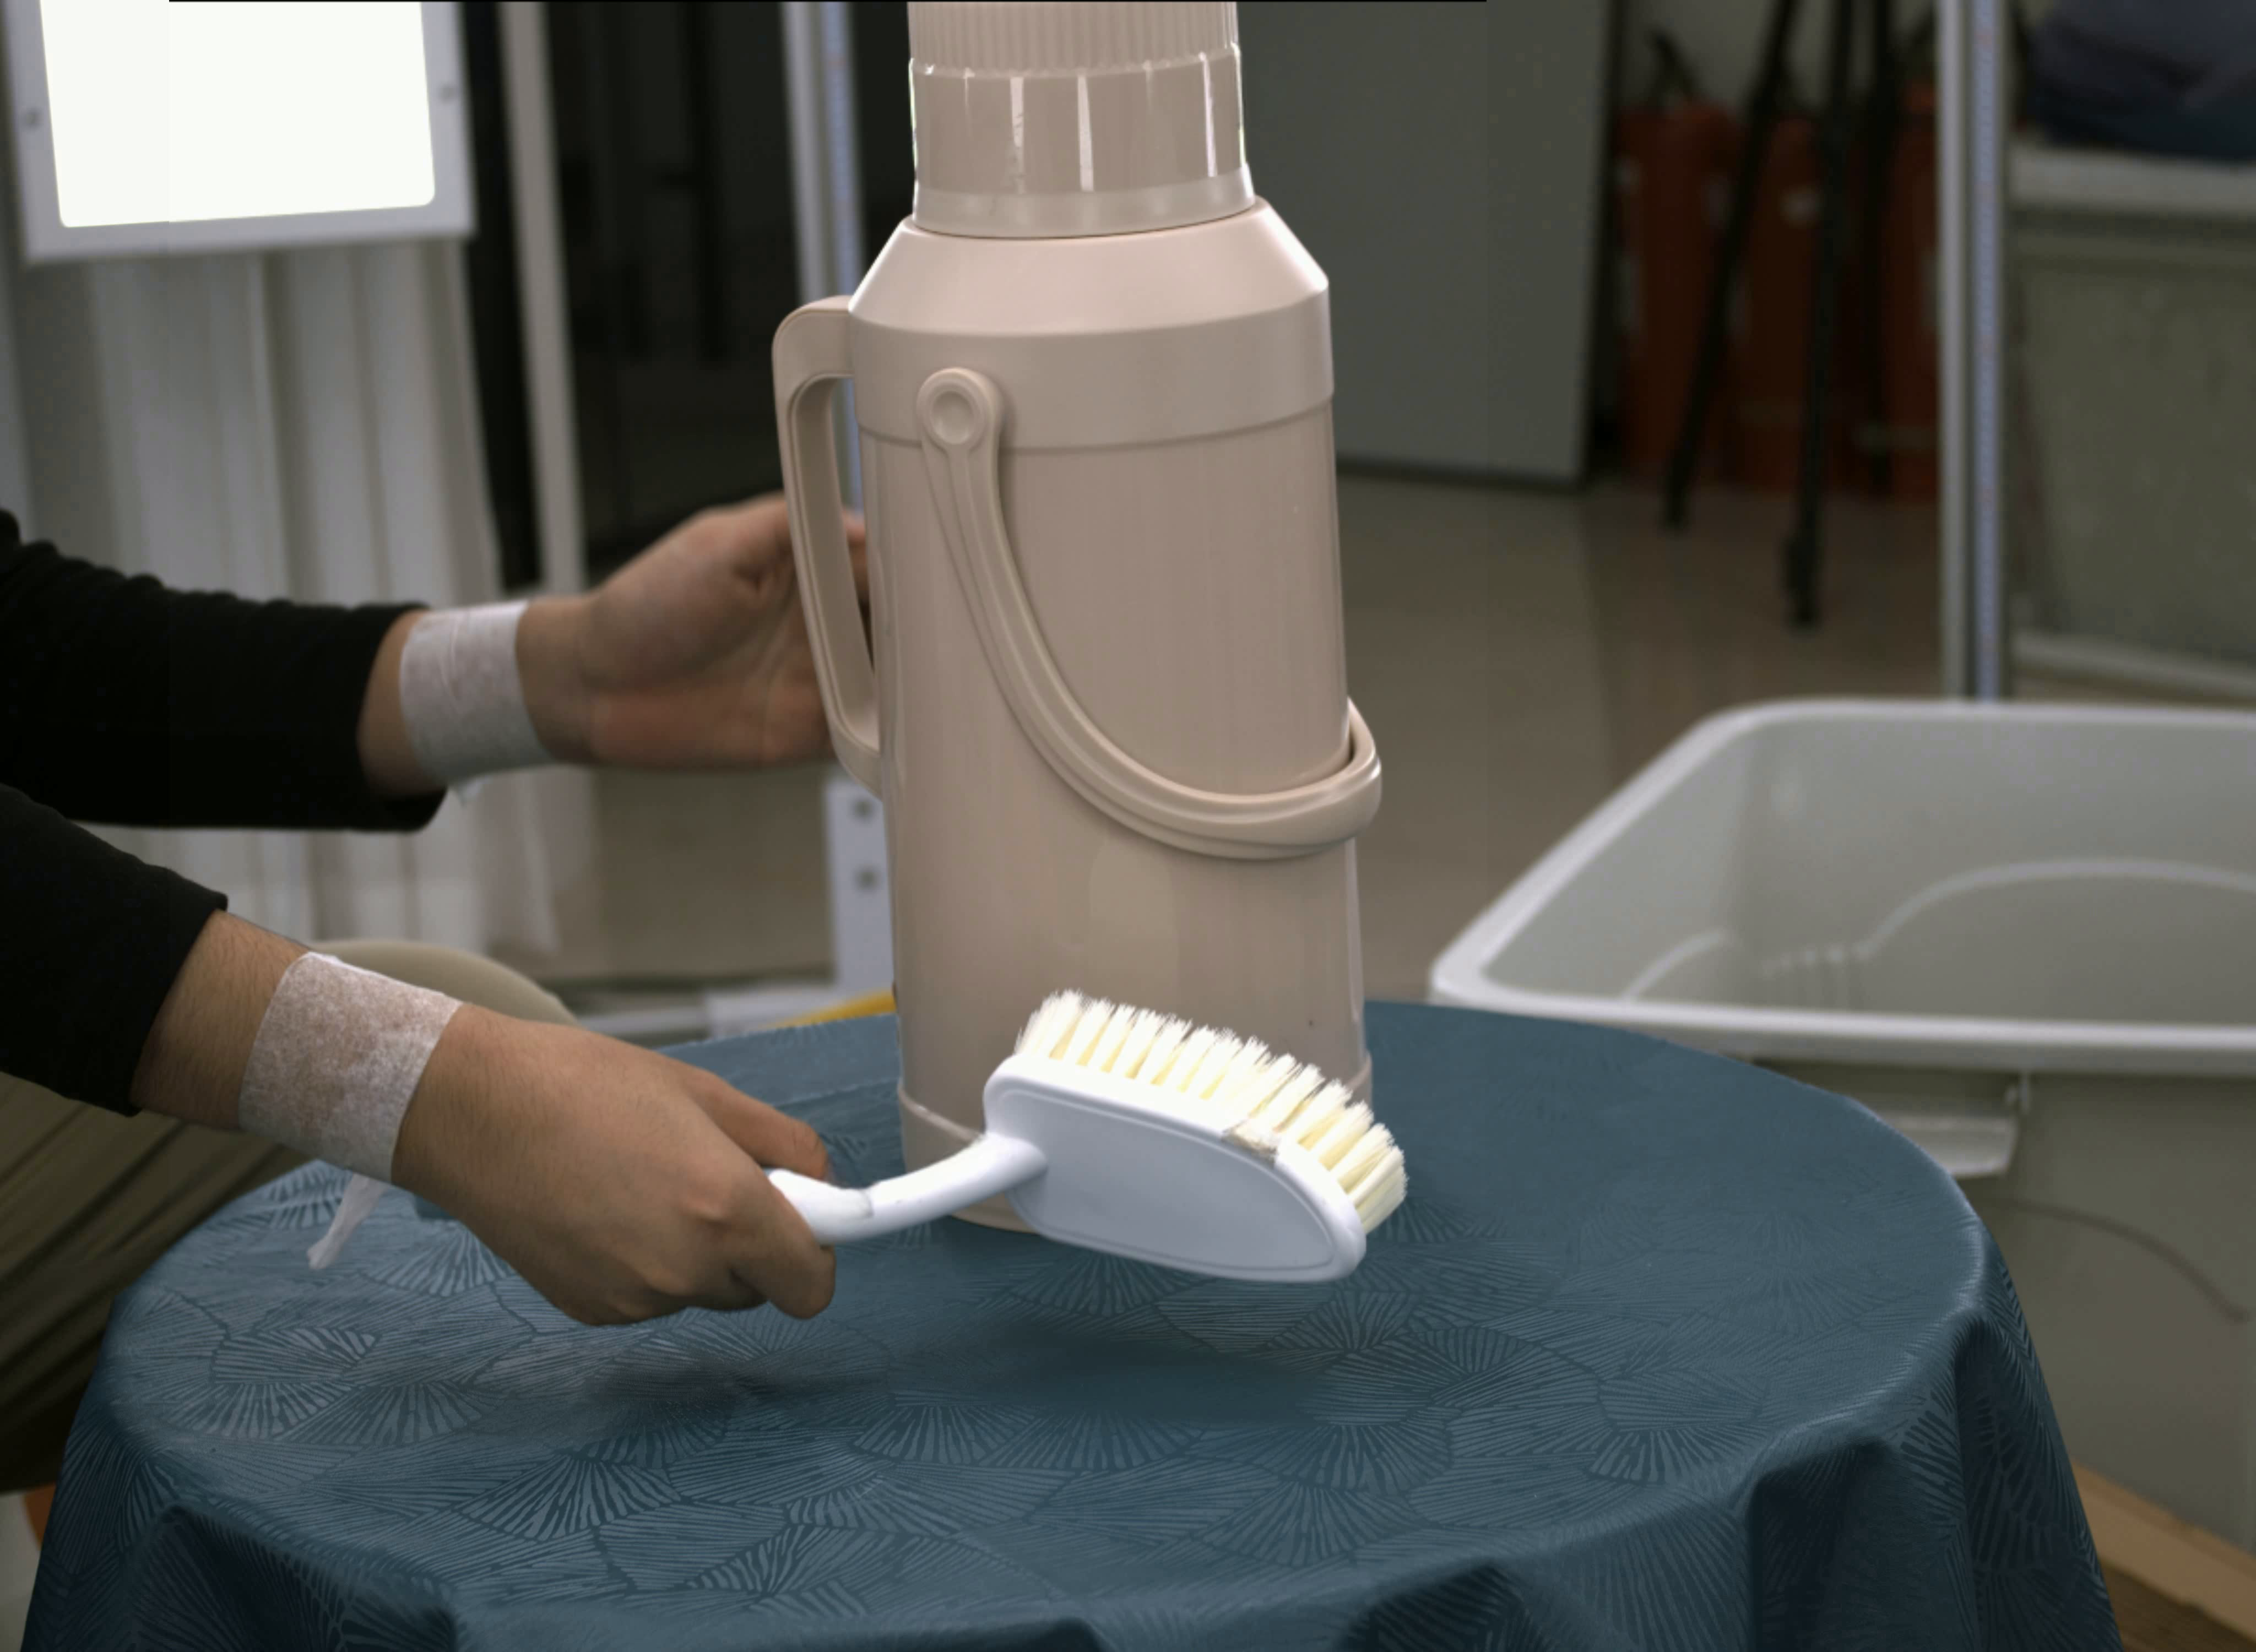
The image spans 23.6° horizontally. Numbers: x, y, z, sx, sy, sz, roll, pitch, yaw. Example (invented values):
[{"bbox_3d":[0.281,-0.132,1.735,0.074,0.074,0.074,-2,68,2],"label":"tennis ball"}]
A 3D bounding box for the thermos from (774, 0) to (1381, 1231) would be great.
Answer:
[{"bbox_3d":[-0.019,-0.082,1.764,0.208,0.410,0.173,4,17,30],"label":"thermos"}]

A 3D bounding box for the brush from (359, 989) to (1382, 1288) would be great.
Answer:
[{"bbox_3d":[-0.077,0.087,1.624,0.325,0.084,0.083,3,1,21],"label":"brush"}]
